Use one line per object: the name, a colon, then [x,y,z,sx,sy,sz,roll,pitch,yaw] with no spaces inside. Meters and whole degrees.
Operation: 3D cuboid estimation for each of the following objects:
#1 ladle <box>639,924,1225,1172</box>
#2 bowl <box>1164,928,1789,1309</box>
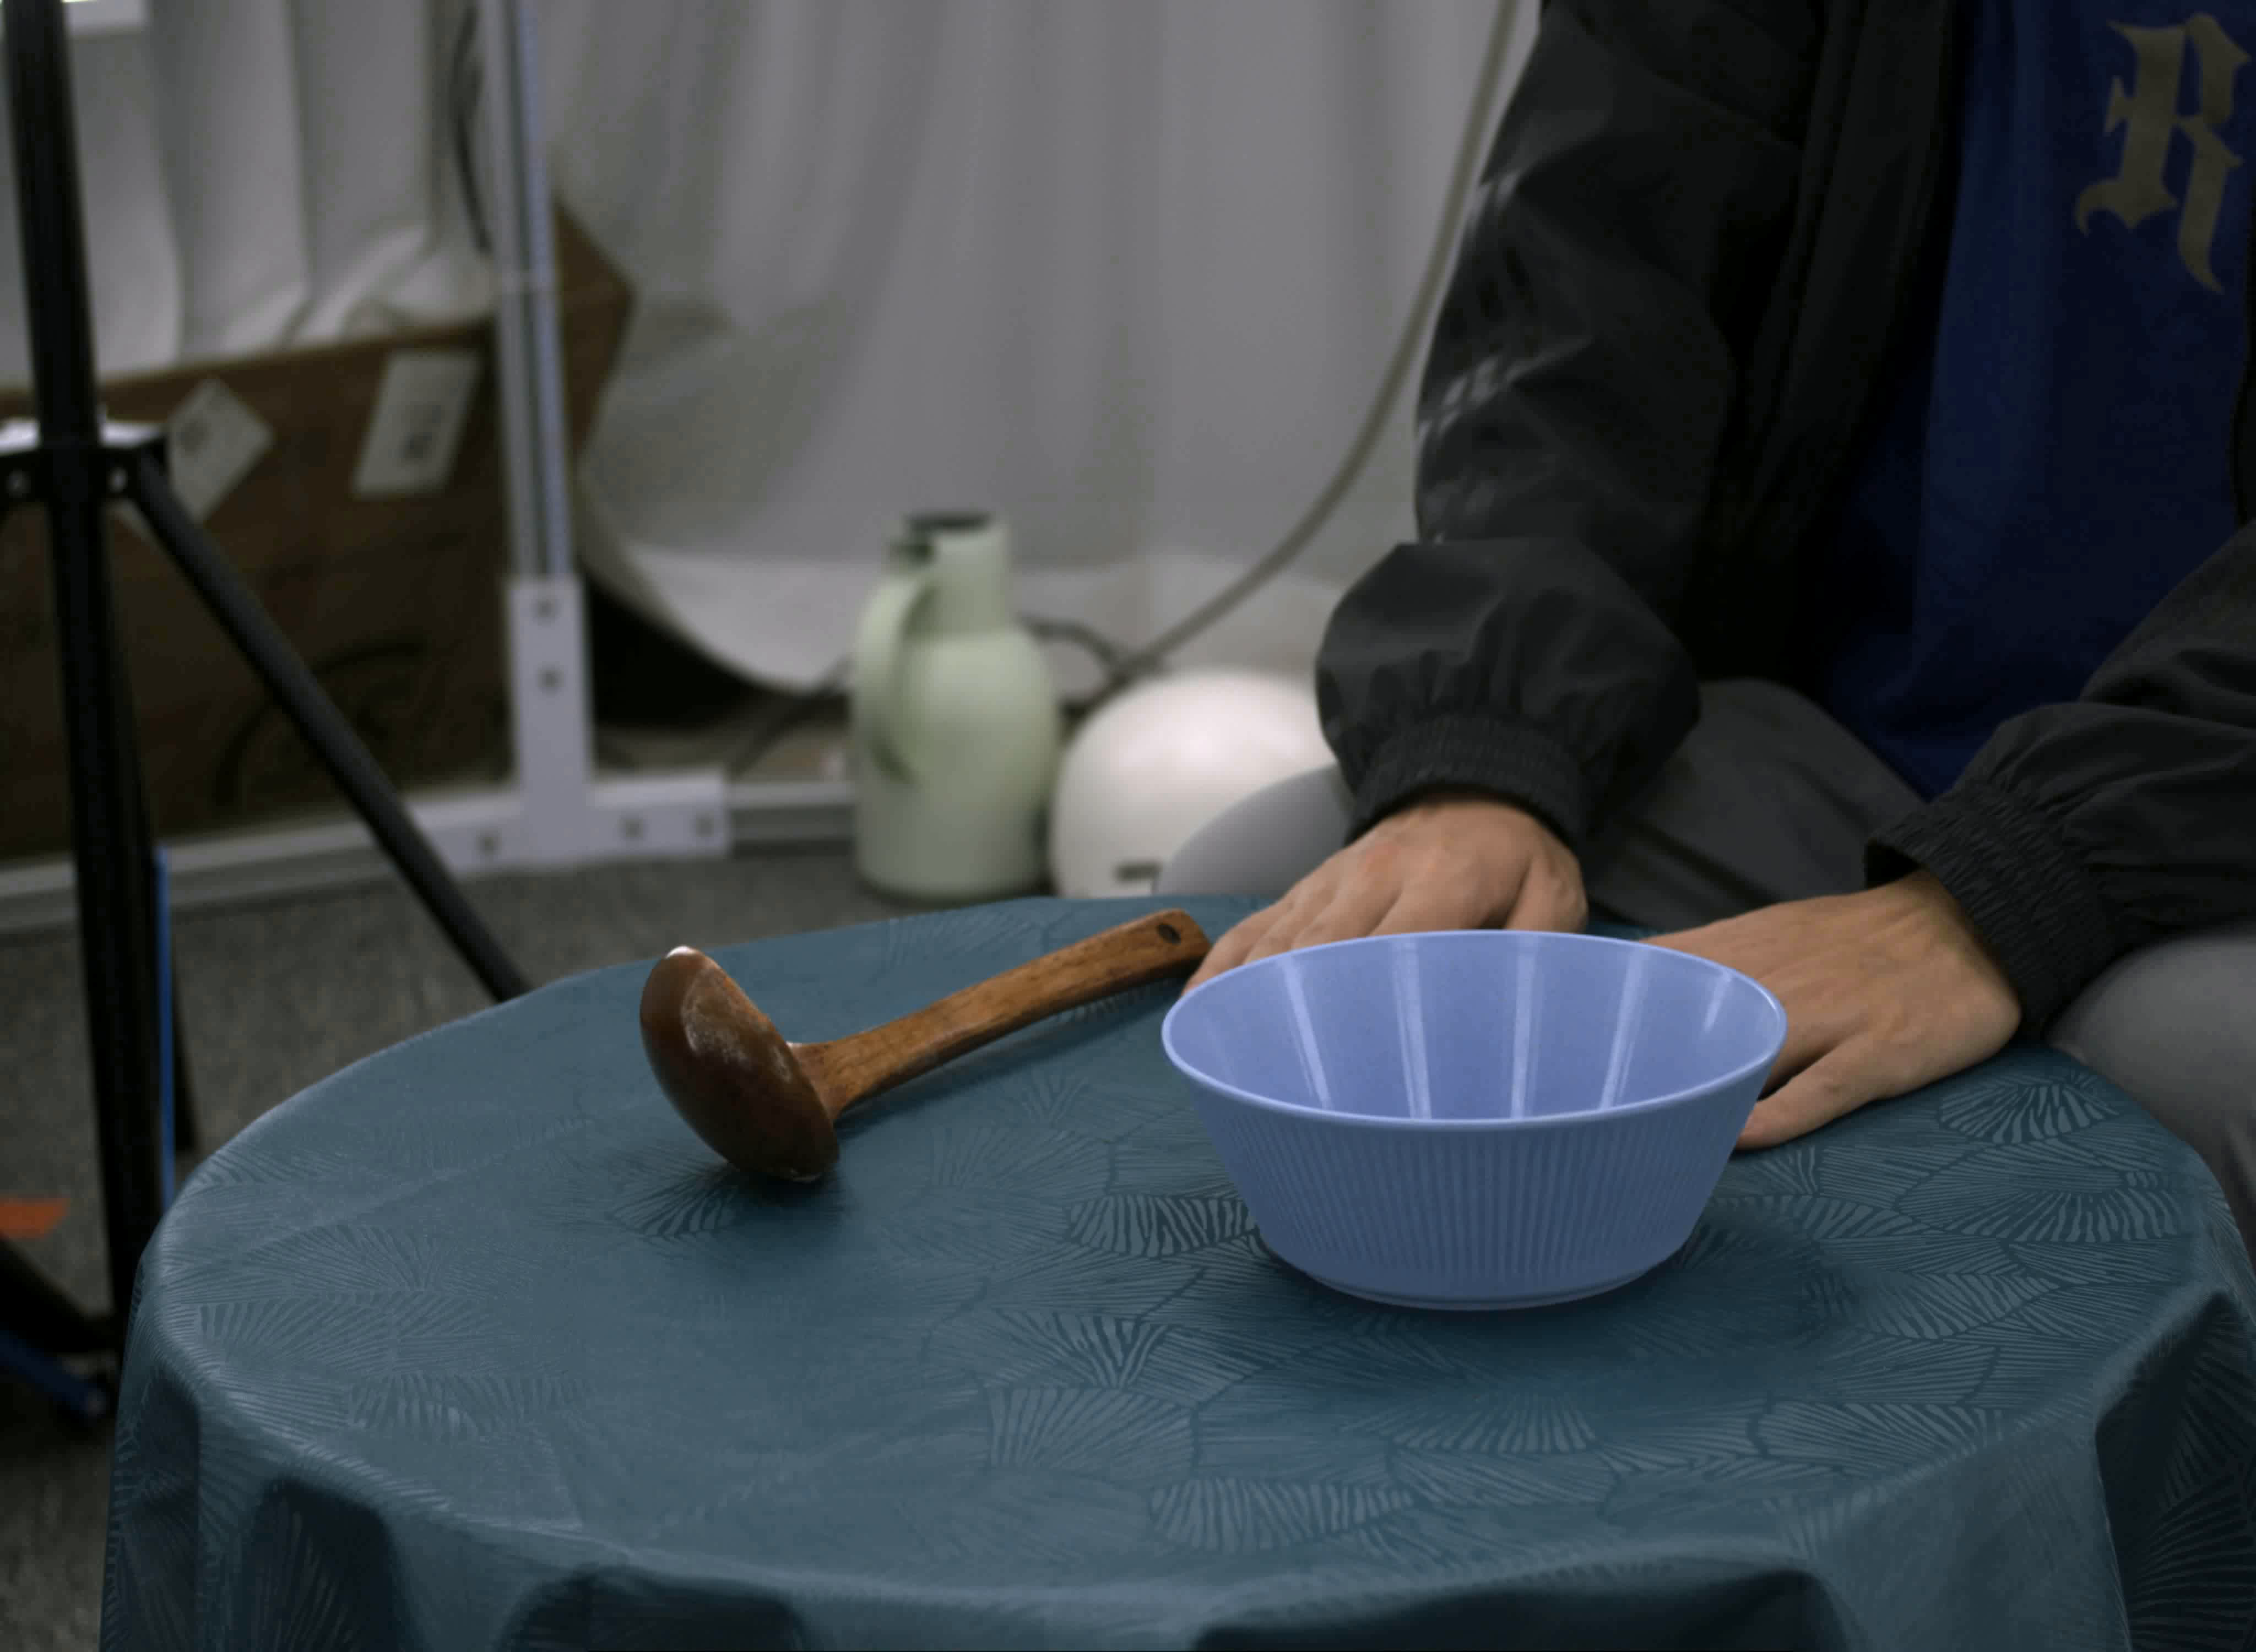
ladle: [-0.047,0.048,1.653,0.268,0.083,0.077,-16,-24,-46]
bowl: [0.098,0.085,1.495,0.175,0.070,0.177,-2,16,-1]
